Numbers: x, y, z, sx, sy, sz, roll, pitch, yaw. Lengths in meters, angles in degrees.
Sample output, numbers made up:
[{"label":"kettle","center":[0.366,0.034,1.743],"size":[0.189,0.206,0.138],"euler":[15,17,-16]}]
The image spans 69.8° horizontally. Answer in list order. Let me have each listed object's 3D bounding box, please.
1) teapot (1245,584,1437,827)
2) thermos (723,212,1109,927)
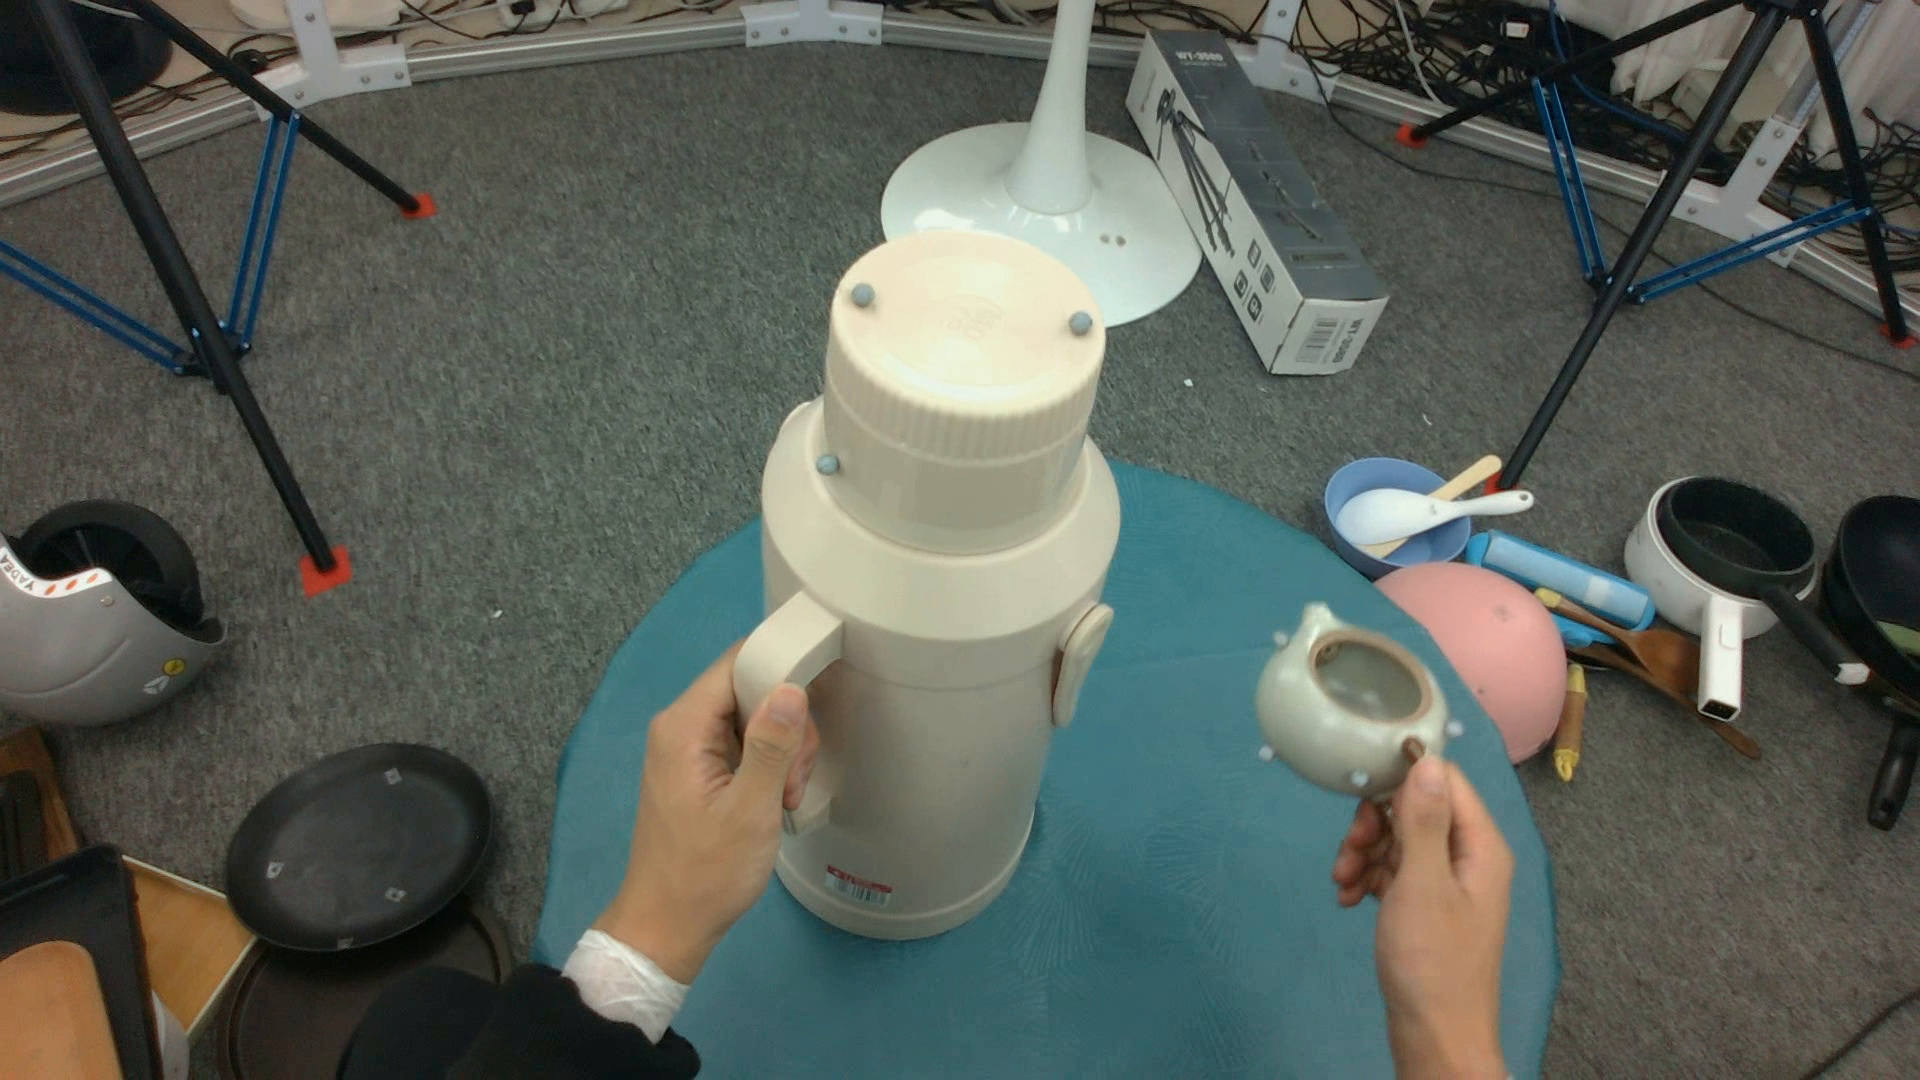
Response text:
[{"label":"teapot","center":[0.191,0.083,0.673],"size":[0.092,0.059,0.128],"euler":[-7,46,-24]},{"label":"thermos","center":[-0.034,0.041,0.662],"size":[0.175,0.404,0.208],"euler":[35,54,17]}]
